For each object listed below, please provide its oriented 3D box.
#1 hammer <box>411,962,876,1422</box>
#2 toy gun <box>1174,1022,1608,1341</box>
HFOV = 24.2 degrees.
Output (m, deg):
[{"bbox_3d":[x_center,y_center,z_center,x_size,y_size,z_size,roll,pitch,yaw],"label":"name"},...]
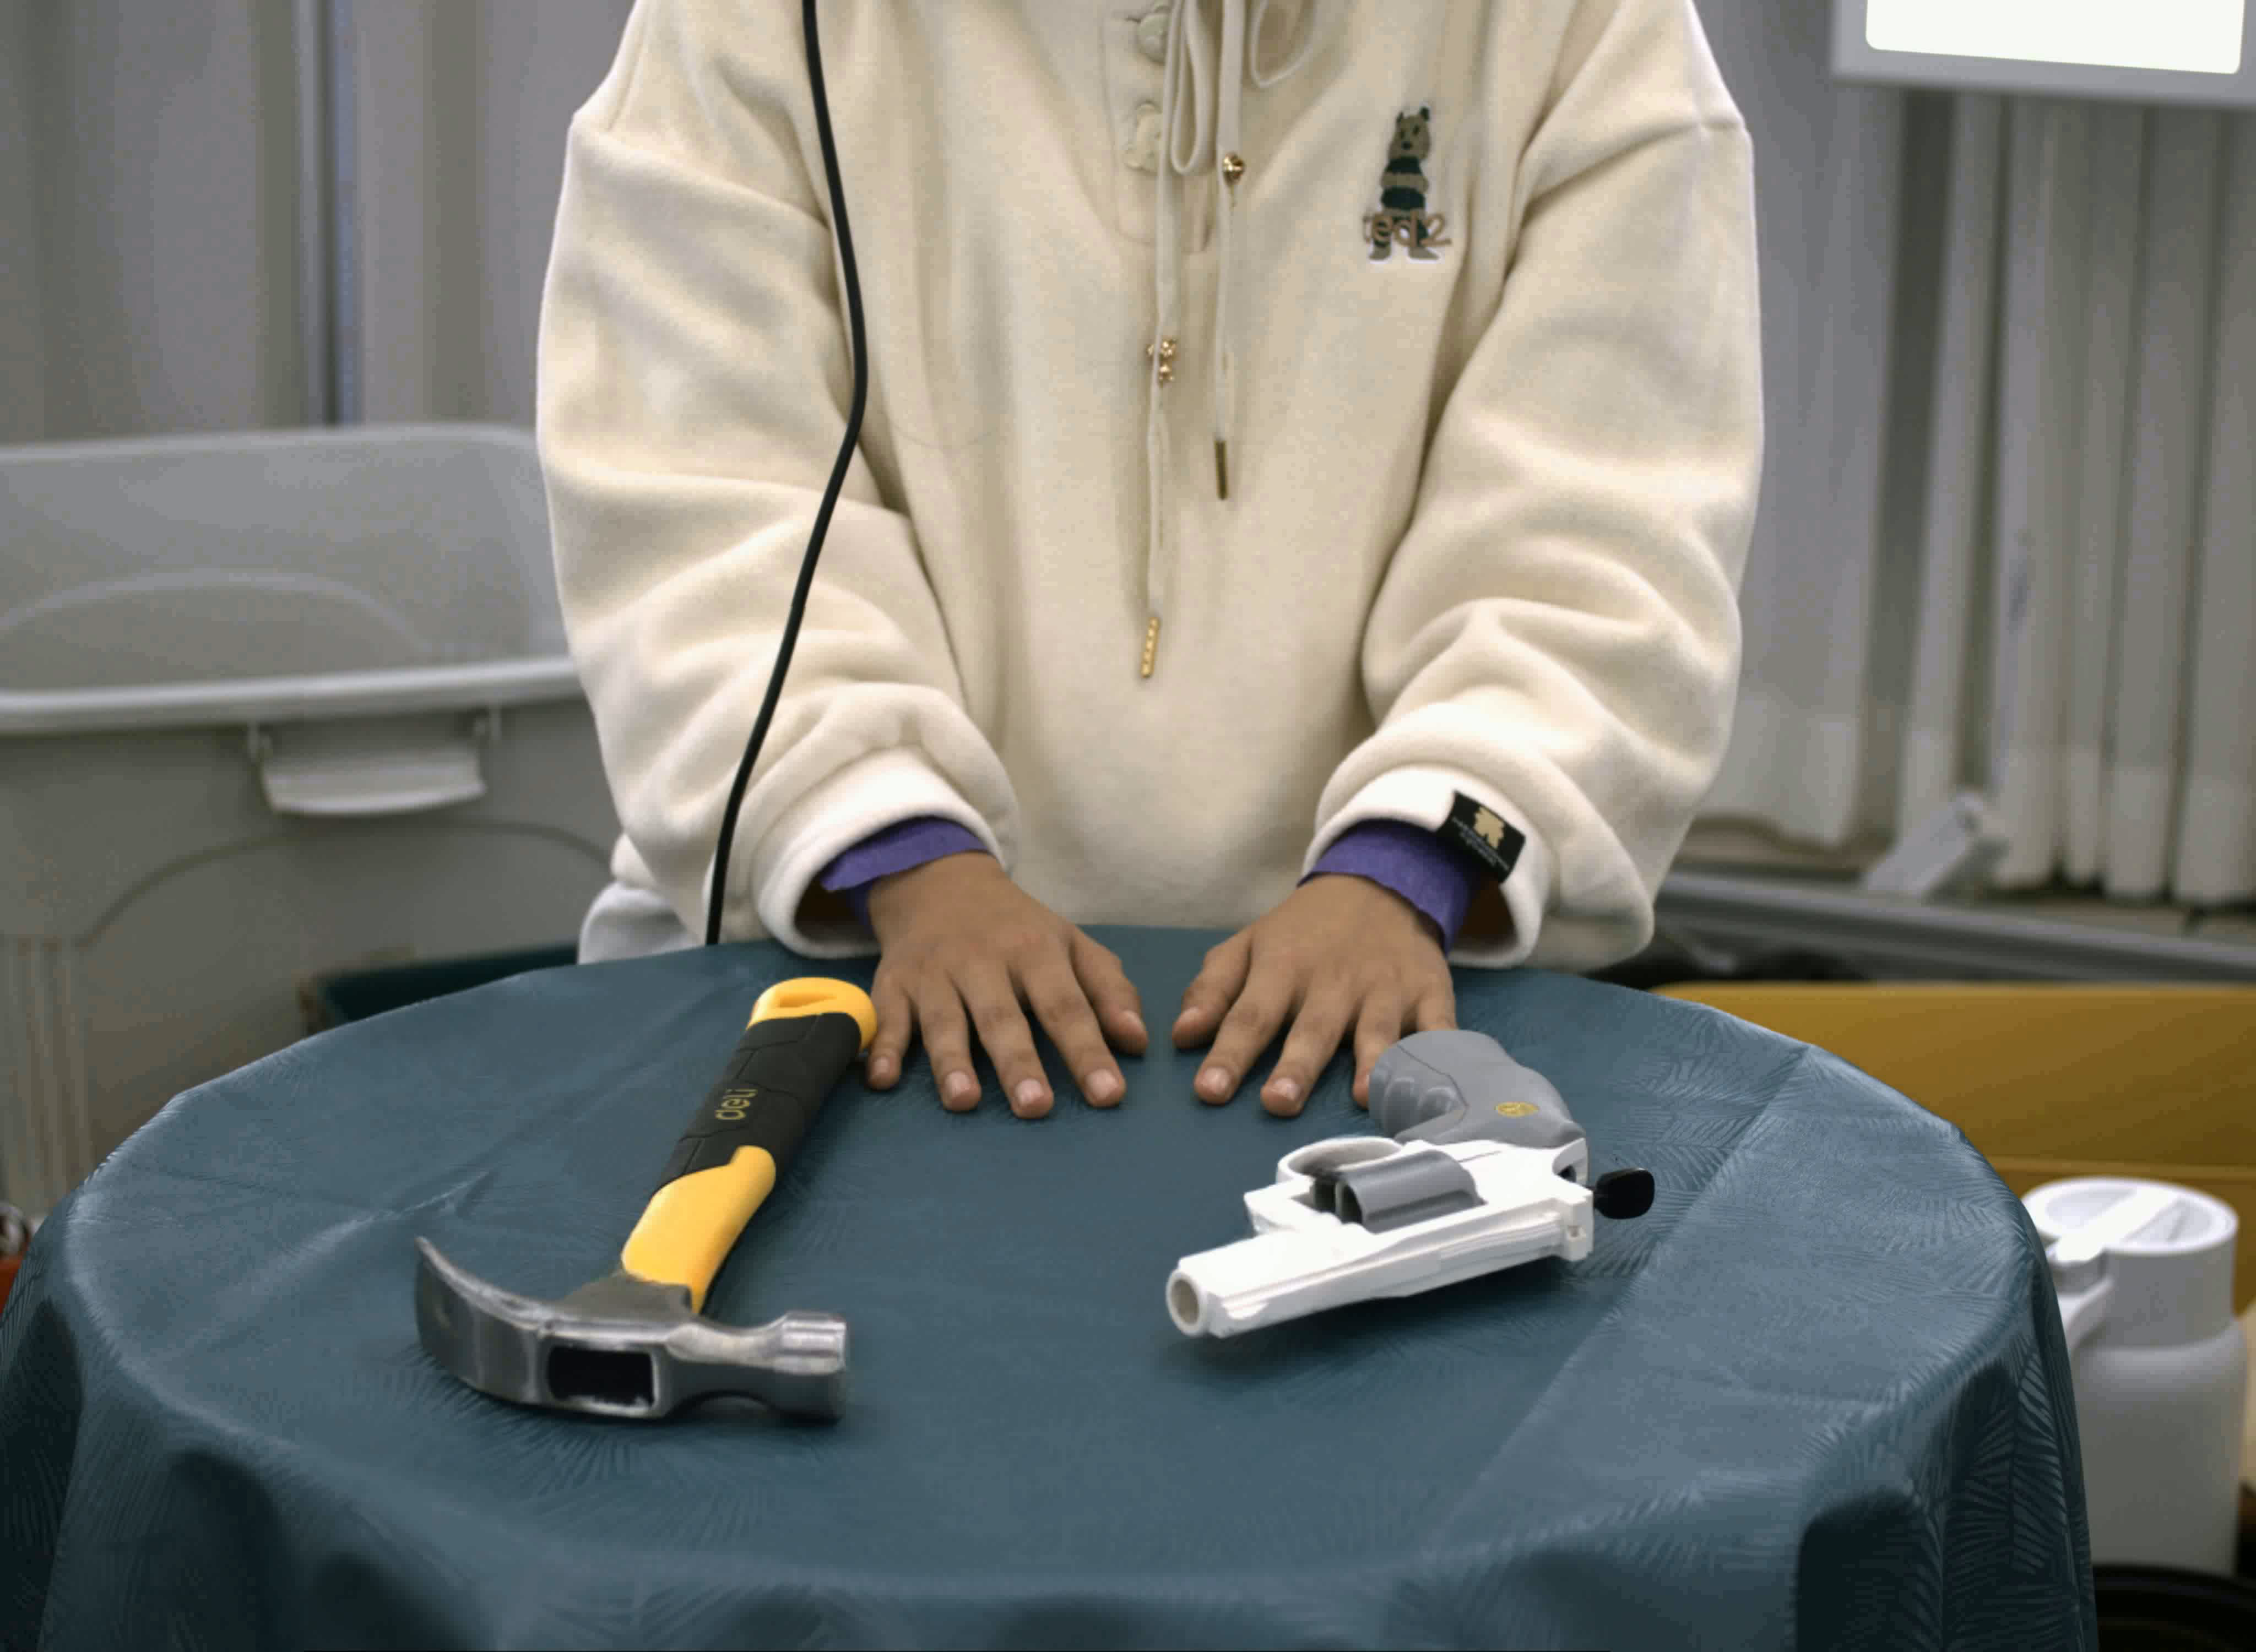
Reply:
[{"bbox_3d":[-0.123,0.102,1.586,0.130,0.032,0.337,0,16,7],"label":"hammer"},{"bbox_3d":[0.071,0.106,1.571,0.210,0.039,0.140,-12,21,-37],"label":"toy gun"}]
